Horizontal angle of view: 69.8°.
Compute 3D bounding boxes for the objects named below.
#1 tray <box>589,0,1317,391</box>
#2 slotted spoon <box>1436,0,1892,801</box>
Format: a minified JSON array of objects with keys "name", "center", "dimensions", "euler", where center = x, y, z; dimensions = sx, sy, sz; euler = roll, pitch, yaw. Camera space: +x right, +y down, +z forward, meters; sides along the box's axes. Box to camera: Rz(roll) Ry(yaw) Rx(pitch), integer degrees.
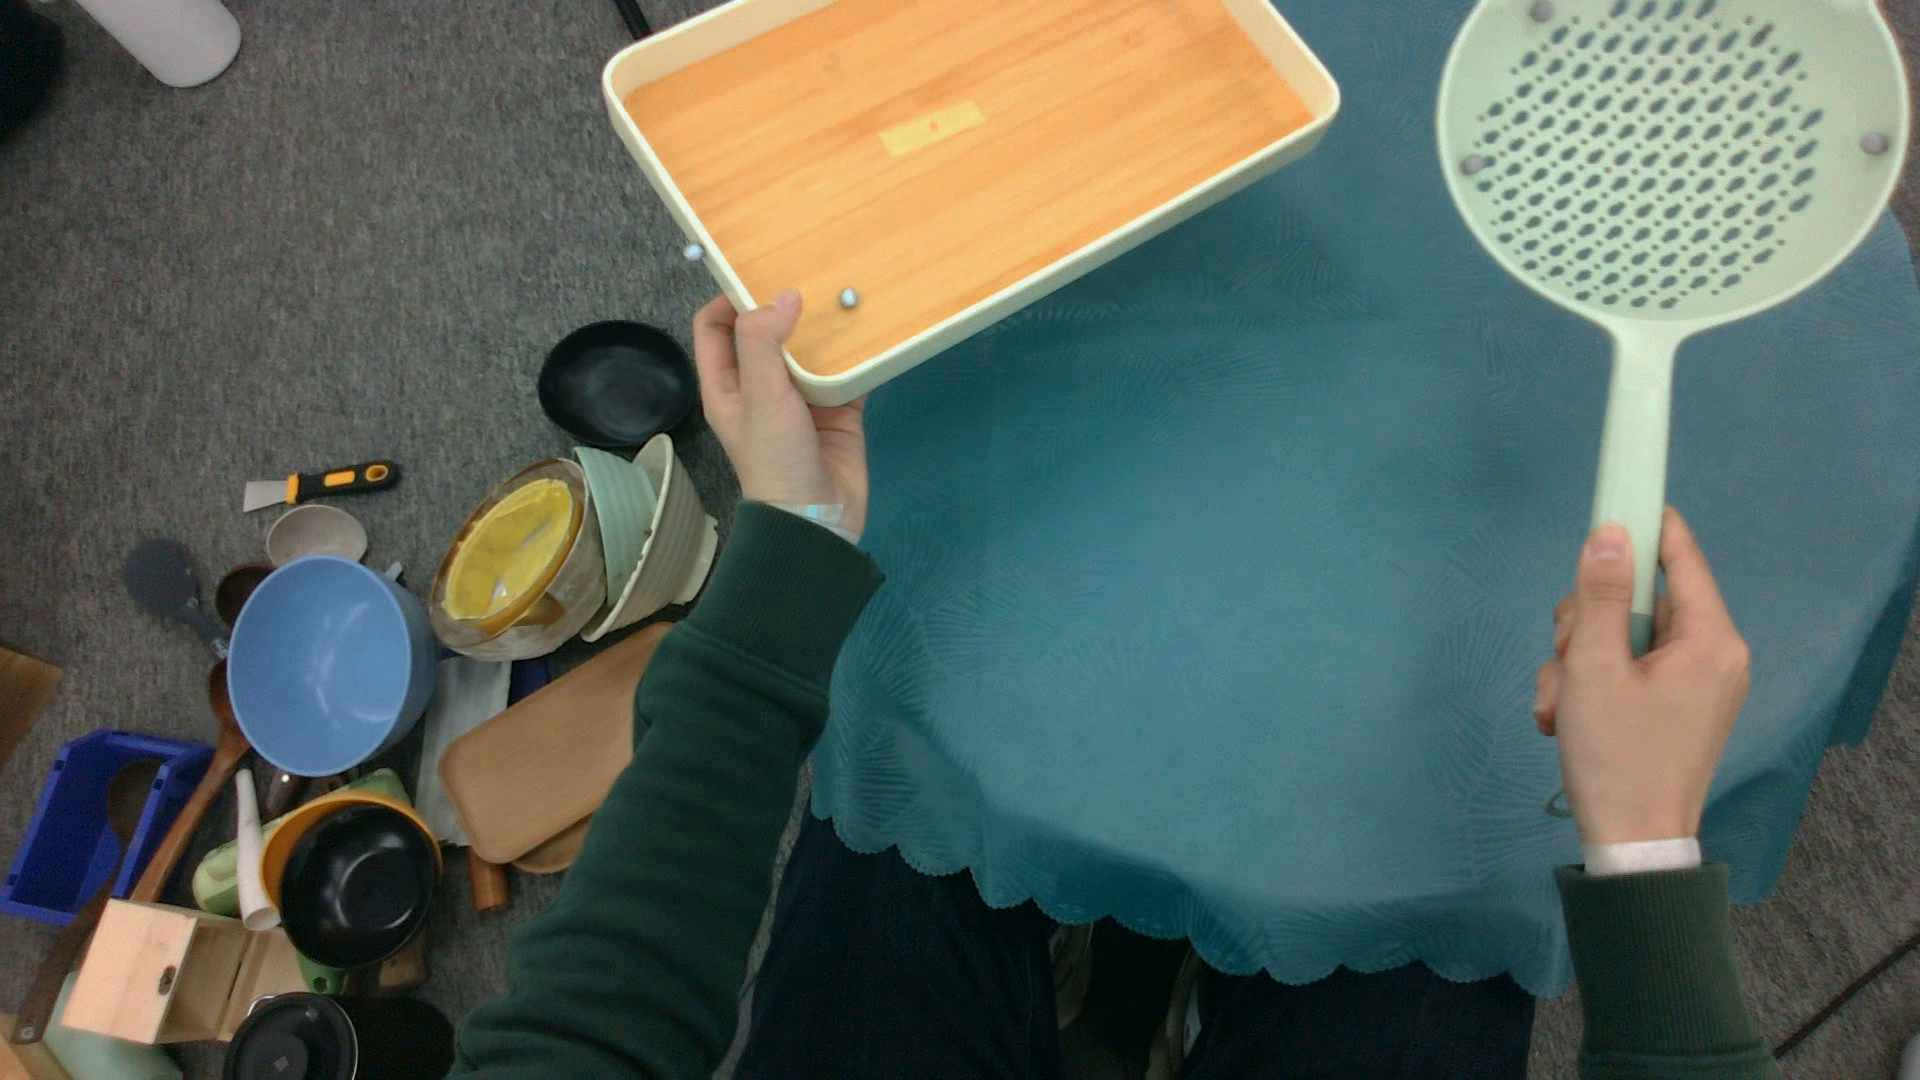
[{"name":"tray","center":[0.001,-0.208,0.649],"dimensions":[0.301,0.027,0.192],"euler":[-30,75,-16]},{"name":"slotted spoon","center":[0.266,-0.078,0.552],"dimensions":[0.169,0.075,0.359],"euler":[8,75,15]}]
